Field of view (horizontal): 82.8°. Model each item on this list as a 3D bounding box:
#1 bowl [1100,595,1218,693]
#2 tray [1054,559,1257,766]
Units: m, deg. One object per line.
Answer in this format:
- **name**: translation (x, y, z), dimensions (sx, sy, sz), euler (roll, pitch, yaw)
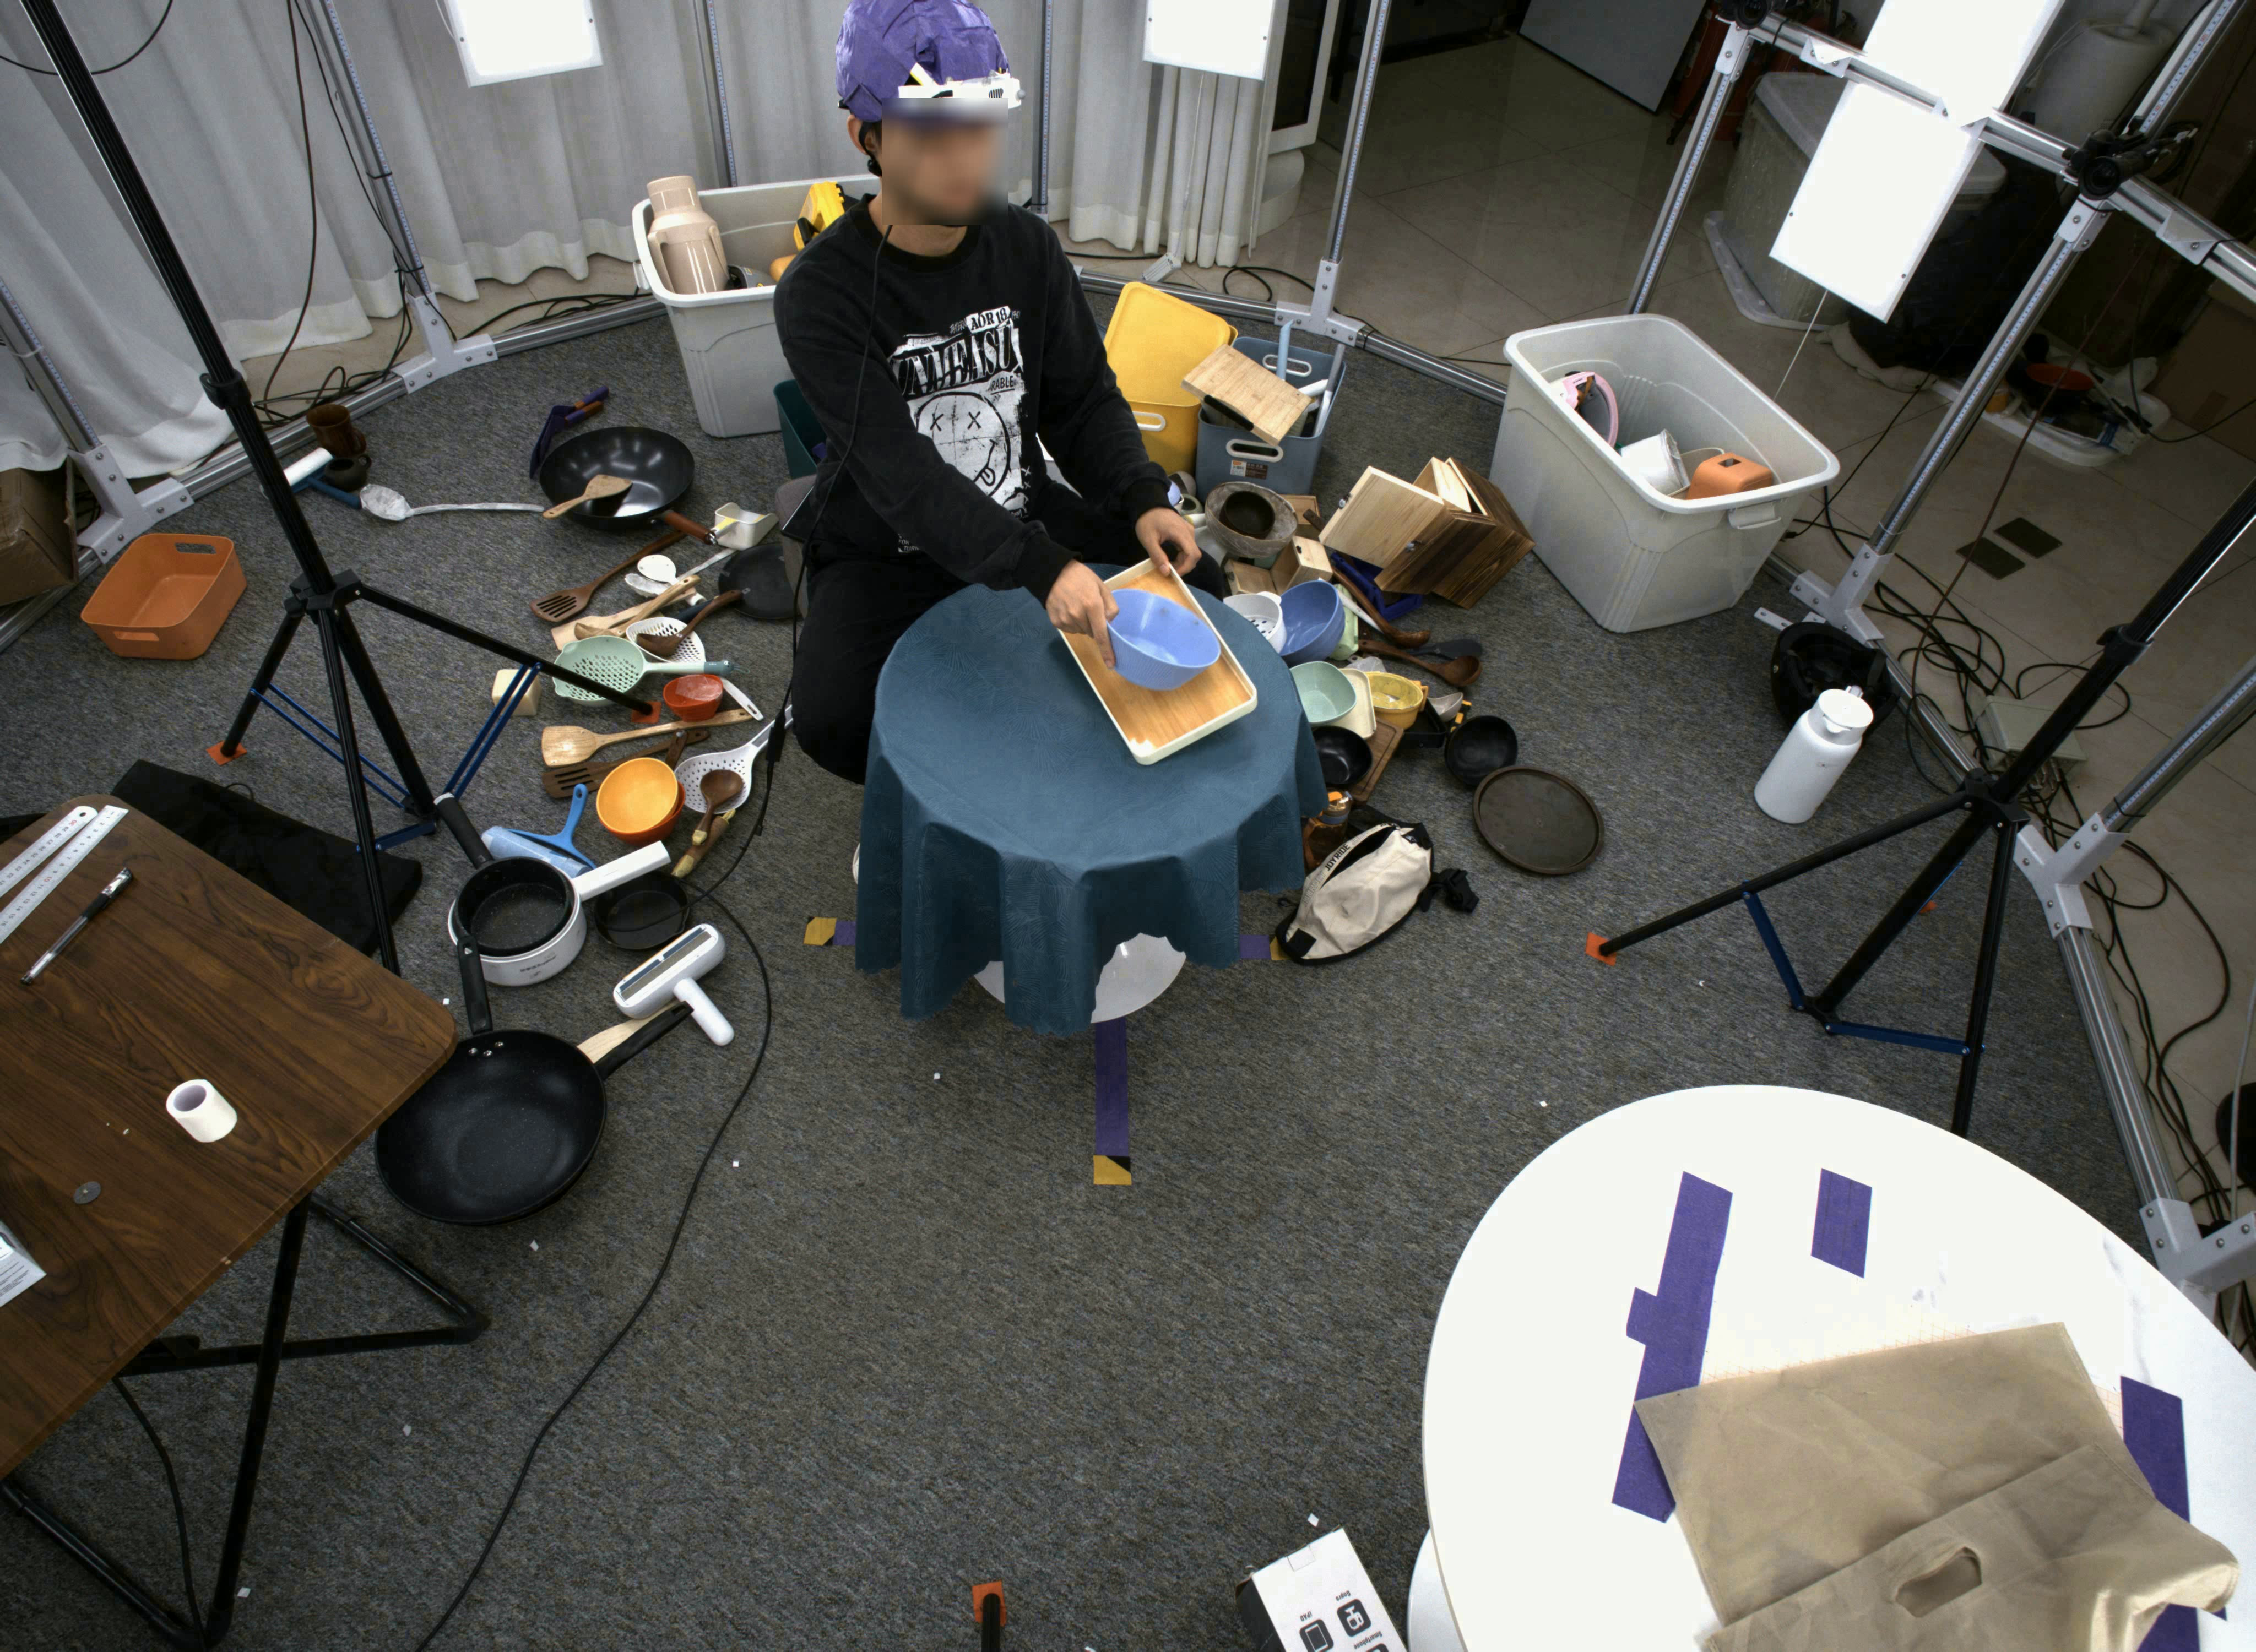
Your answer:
- **bowl**: translation (0.031, -0.242, 1.762), dimensions (0.175, 0.069, 0.180), euler (19, 32, -13)
- **tray**: translation (0.036, -0.238, 1.828), dimensions (0.192, 0.027, 0.307), euler (-28, 59, -4)
